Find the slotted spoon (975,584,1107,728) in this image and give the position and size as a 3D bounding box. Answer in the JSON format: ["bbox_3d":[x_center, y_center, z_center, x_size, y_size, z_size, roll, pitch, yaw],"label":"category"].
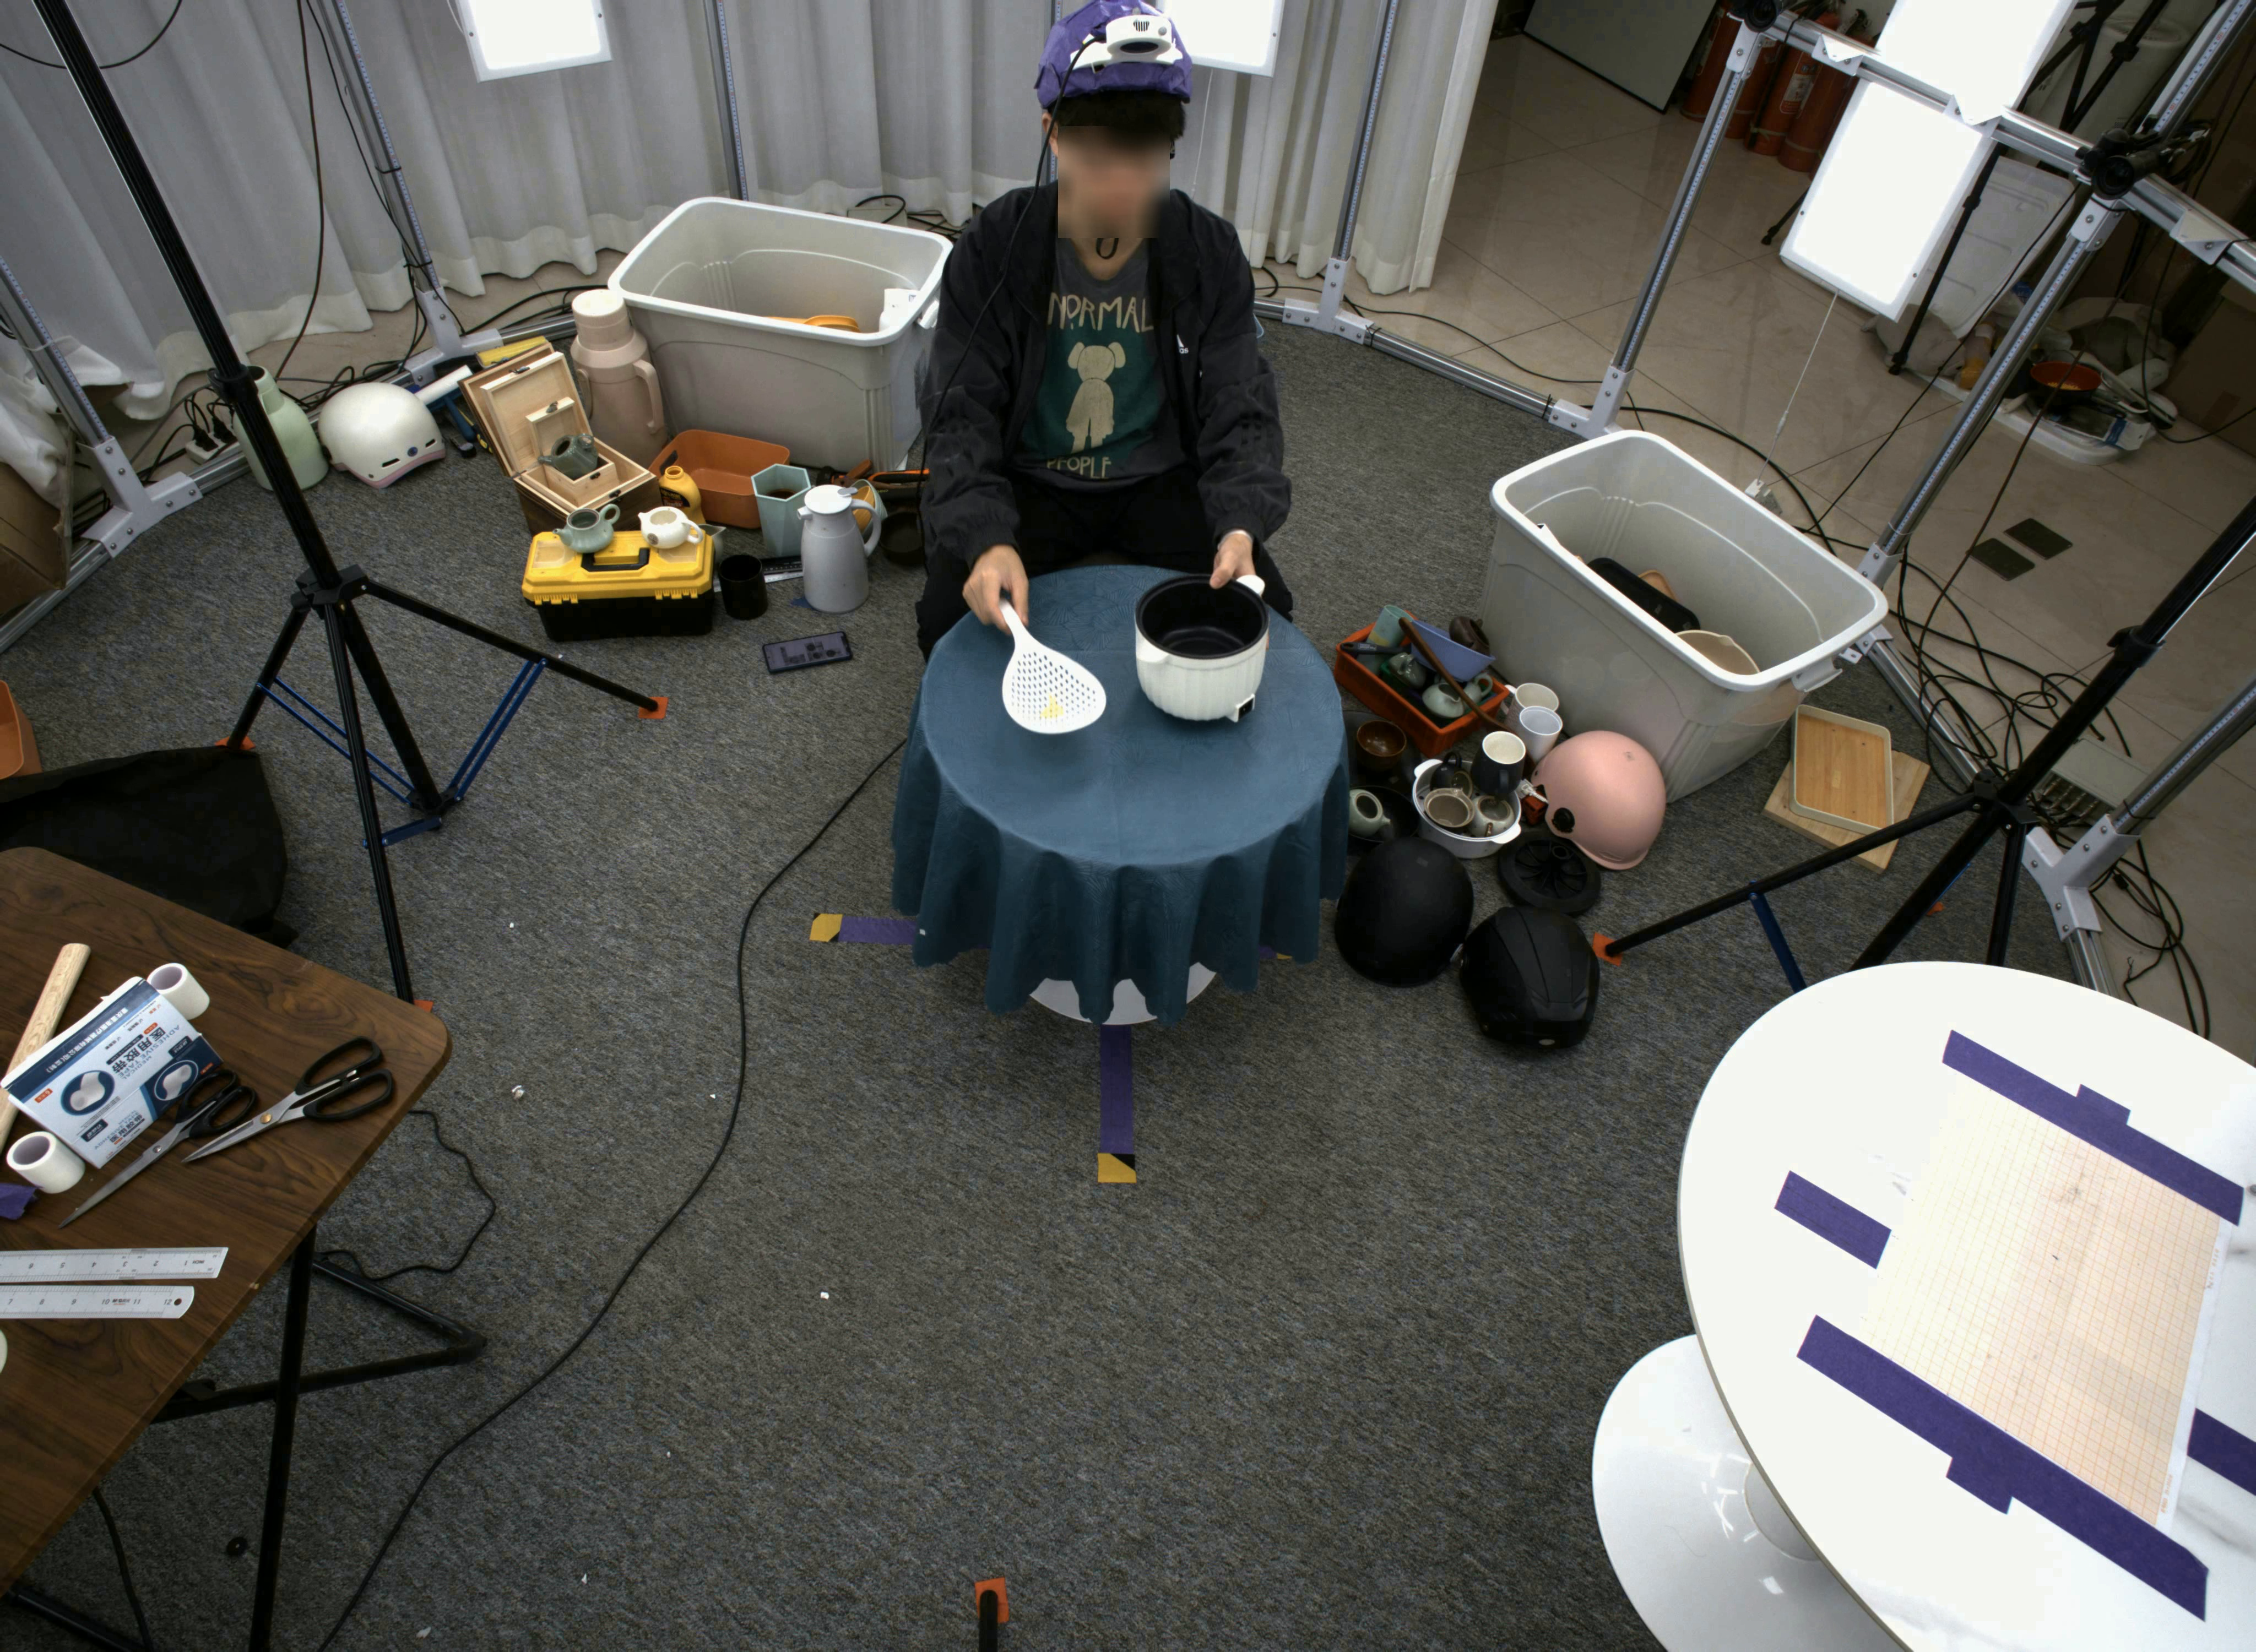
[{"bbox_3d":[-0.142,-0.247,1.787,0.137,0.049,0.356,-17,53,-16],"label":"slotted spoon"}]

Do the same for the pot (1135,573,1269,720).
[{"bbox_3d":[0.095,-0.245,1.782,0.193,0.139,0.242,36,55,27],"label":"pot"}]
